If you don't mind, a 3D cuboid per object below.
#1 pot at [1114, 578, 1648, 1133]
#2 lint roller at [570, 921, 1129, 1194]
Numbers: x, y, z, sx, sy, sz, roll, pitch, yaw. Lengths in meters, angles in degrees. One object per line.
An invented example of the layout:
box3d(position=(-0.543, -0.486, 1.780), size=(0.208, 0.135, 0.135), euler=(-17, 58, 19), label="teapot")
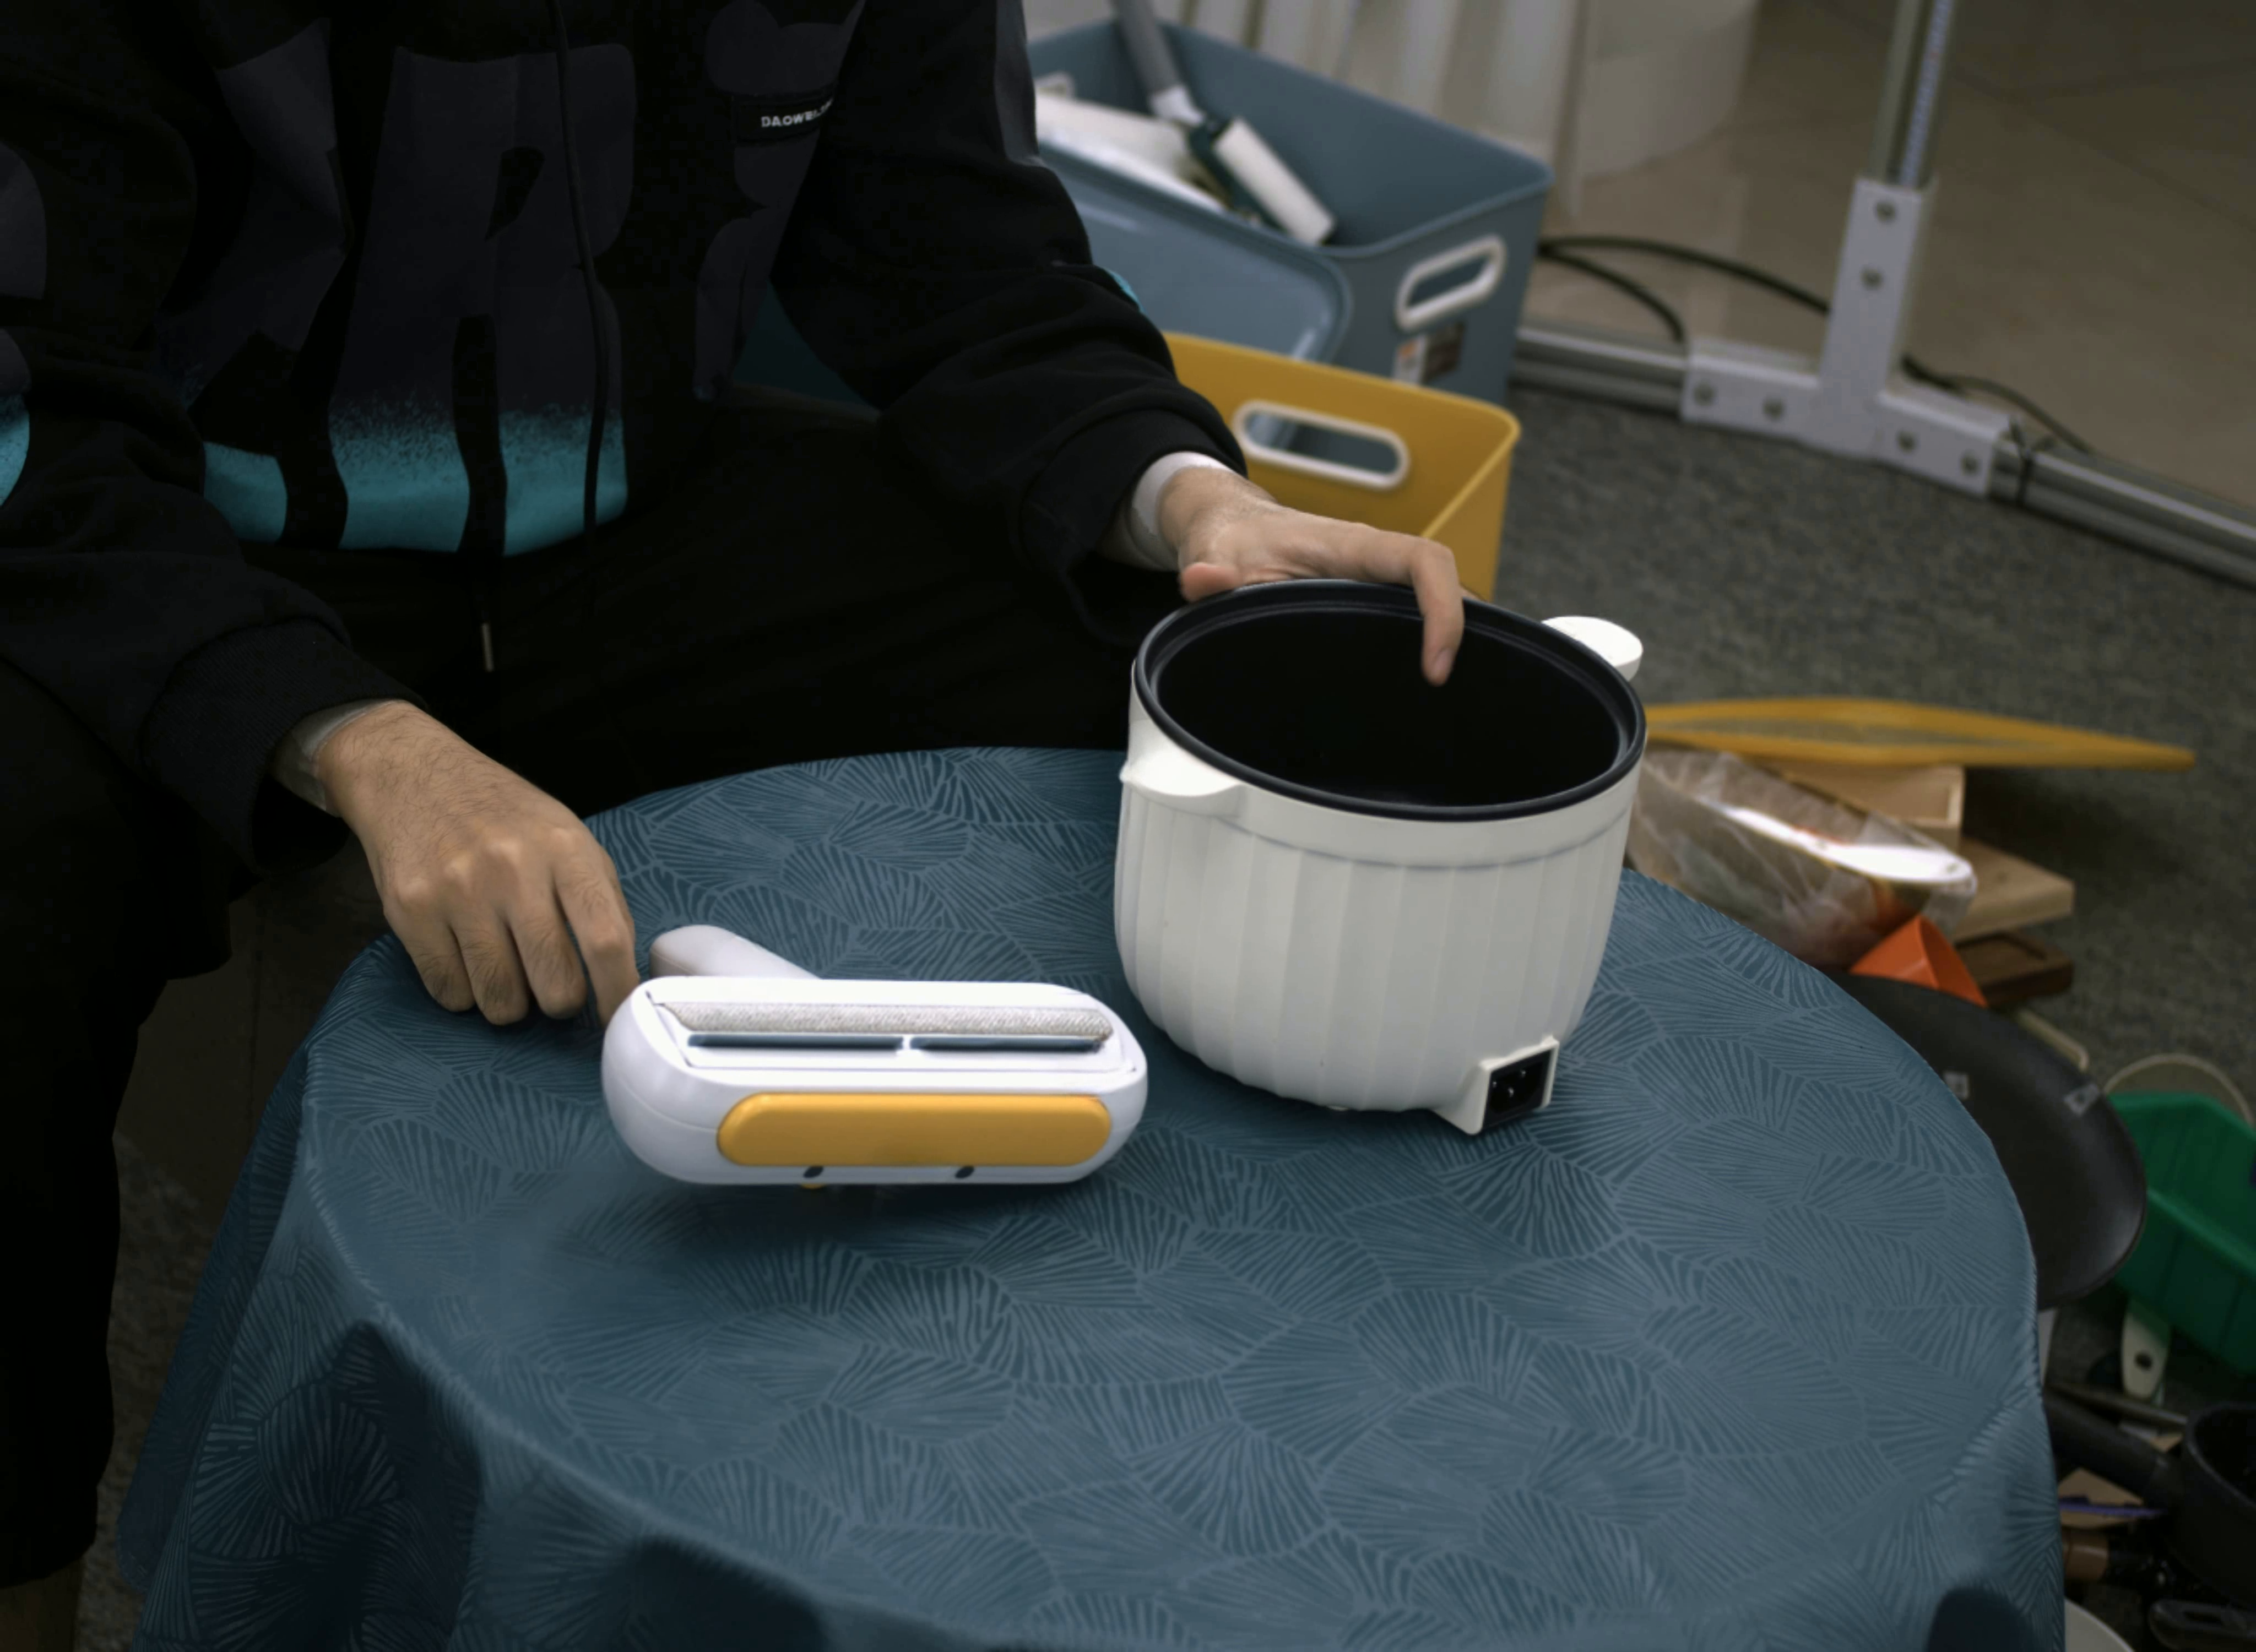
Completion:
box3d(position=(0.080, 0.009, 1.888), size=(0.239, 0.142, 0.192), euler=(-16, 37, -40), label="pot")
box3d(position=(-0.115, 0.066, 1.812), size=(0.191, 0.074, 0.194), euler=(-1, 26, -25), label="lint roller")
